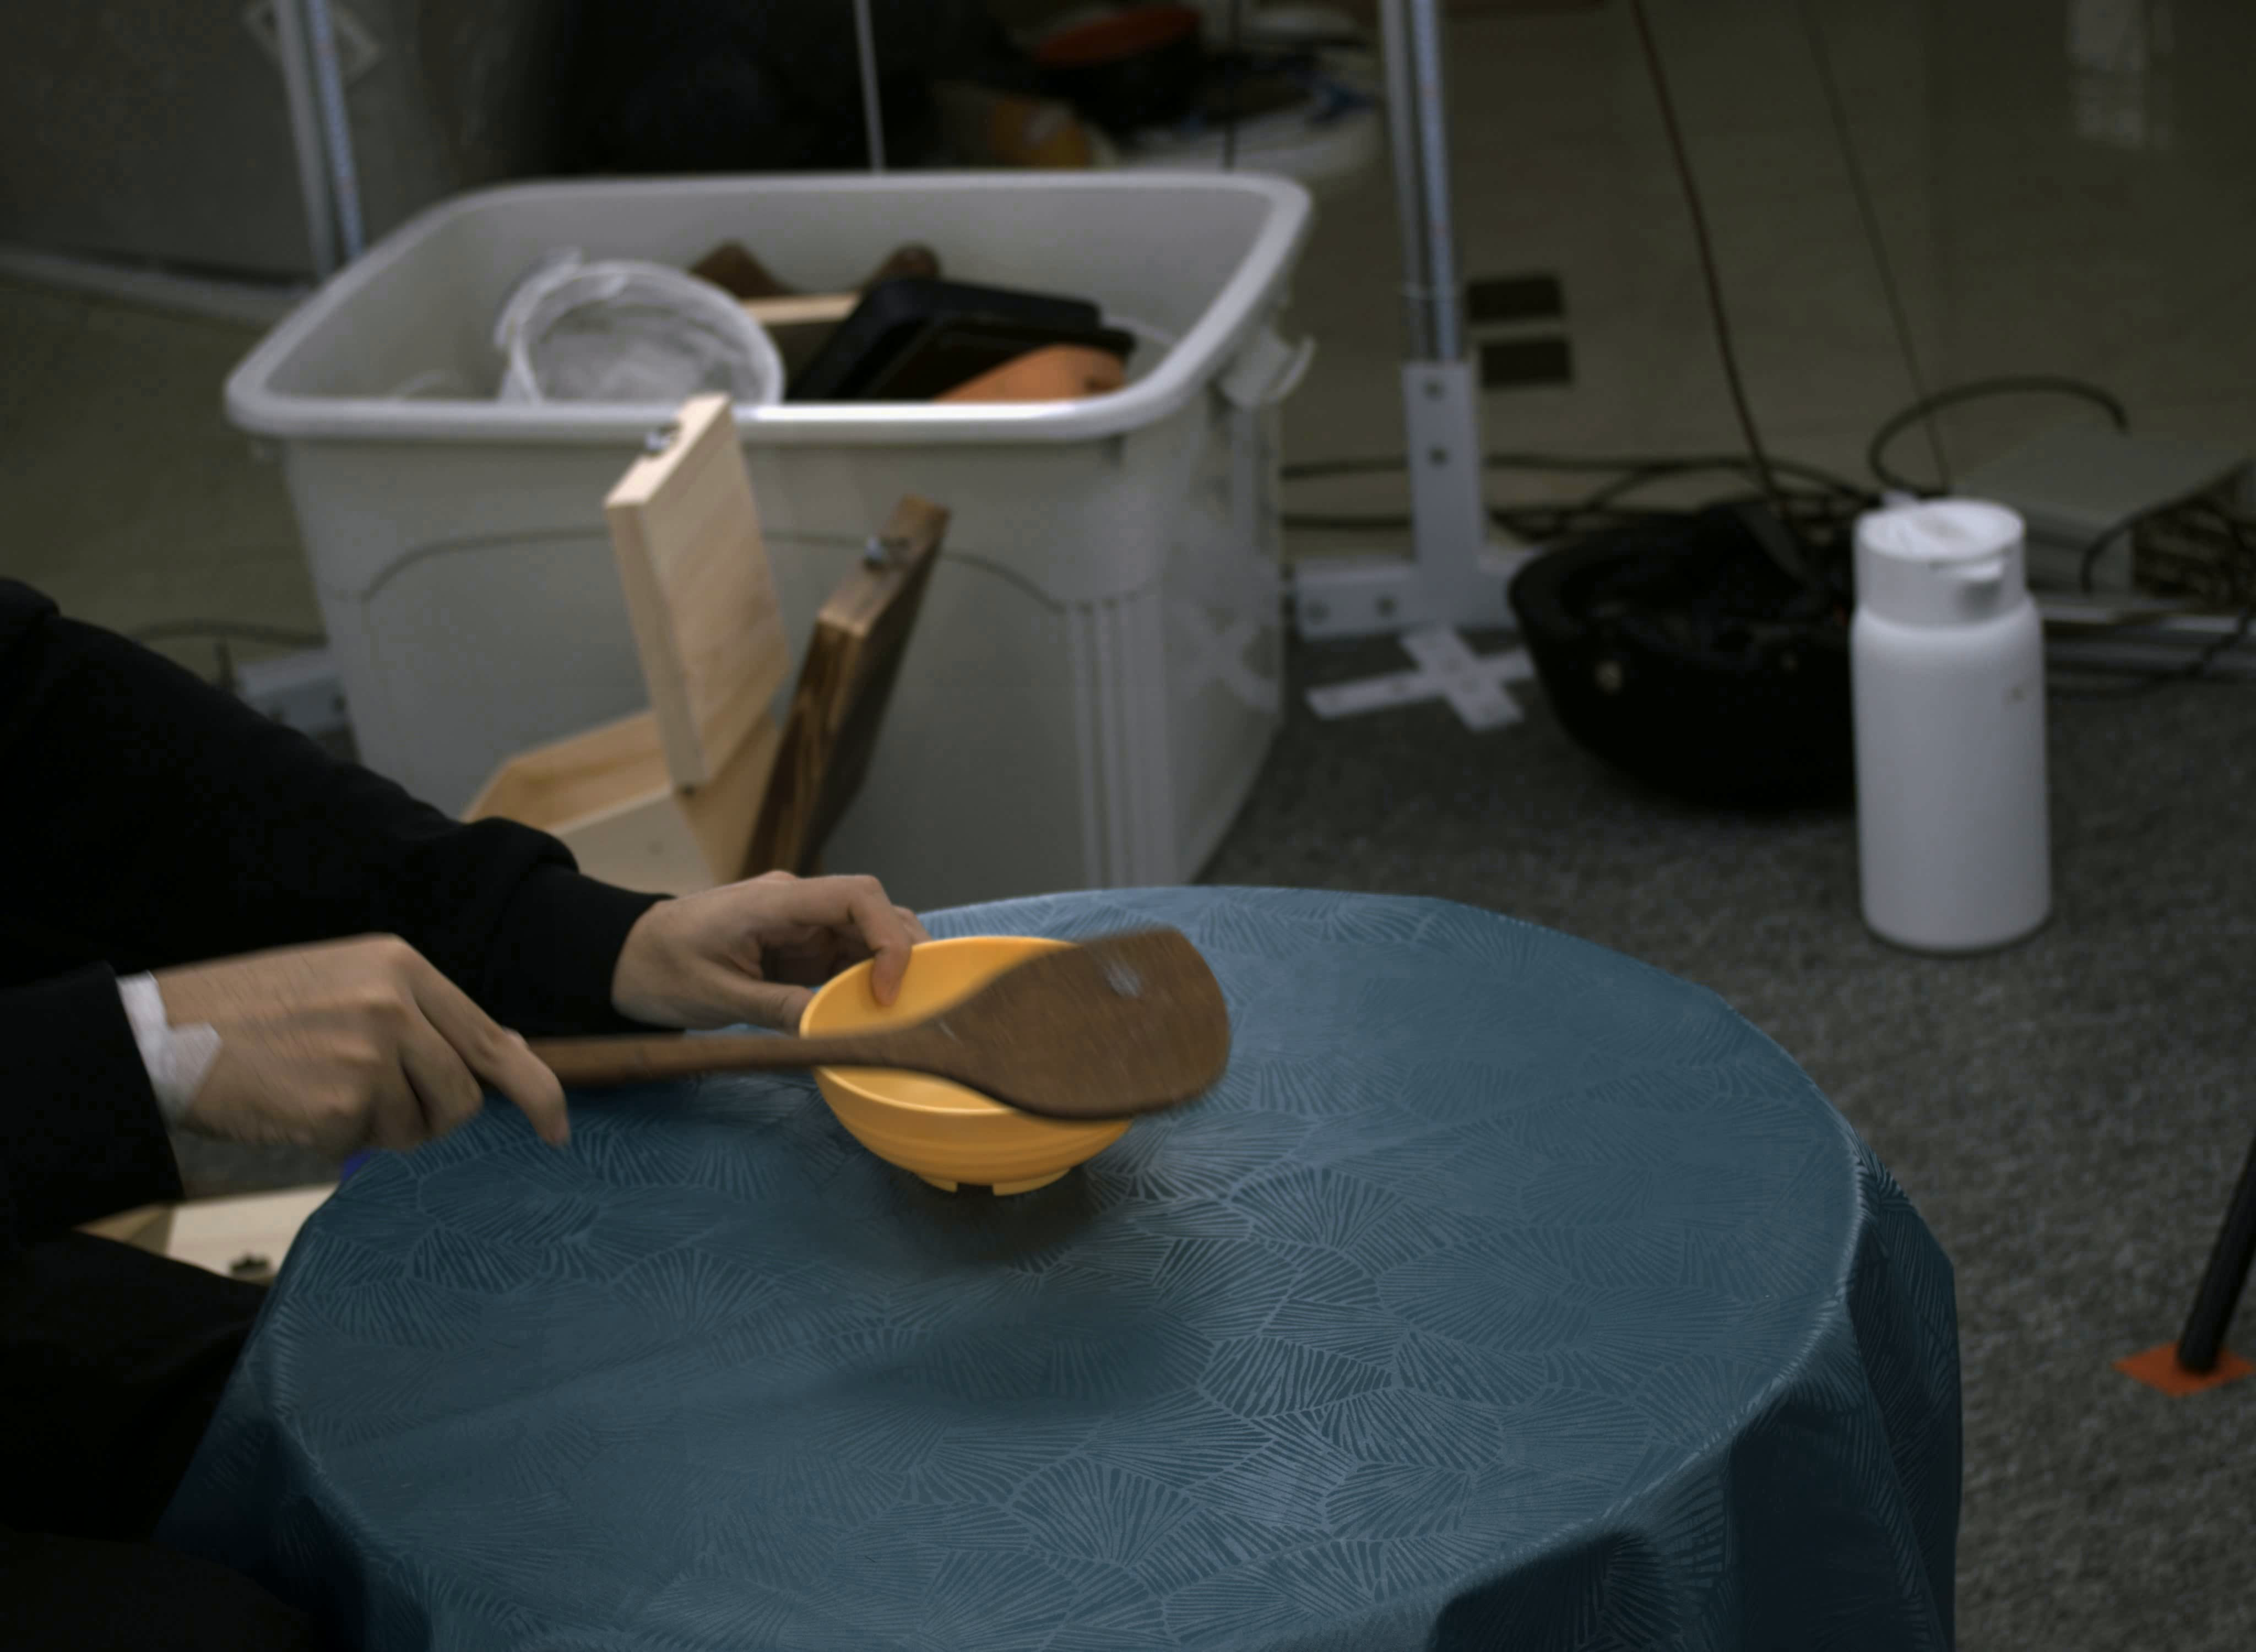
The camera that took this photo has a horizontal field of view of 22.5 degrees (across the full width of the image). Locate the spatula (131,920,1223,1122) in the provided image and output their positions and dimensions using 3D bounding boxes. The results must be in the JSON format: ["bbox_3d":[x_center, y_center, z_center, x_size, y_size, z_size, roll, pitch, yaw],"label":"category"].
[{"bbox_3d":[-0.158,0.079,2.004,0.385,0.016,0.094,-4,42,-8],"label":"spatula"}]

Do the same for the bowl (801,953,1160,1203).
[{"bbox_3d":[-0.053,0.104,2.170,0.145,0.061,0.143,-2,24,1],"label":"bowl"}]
